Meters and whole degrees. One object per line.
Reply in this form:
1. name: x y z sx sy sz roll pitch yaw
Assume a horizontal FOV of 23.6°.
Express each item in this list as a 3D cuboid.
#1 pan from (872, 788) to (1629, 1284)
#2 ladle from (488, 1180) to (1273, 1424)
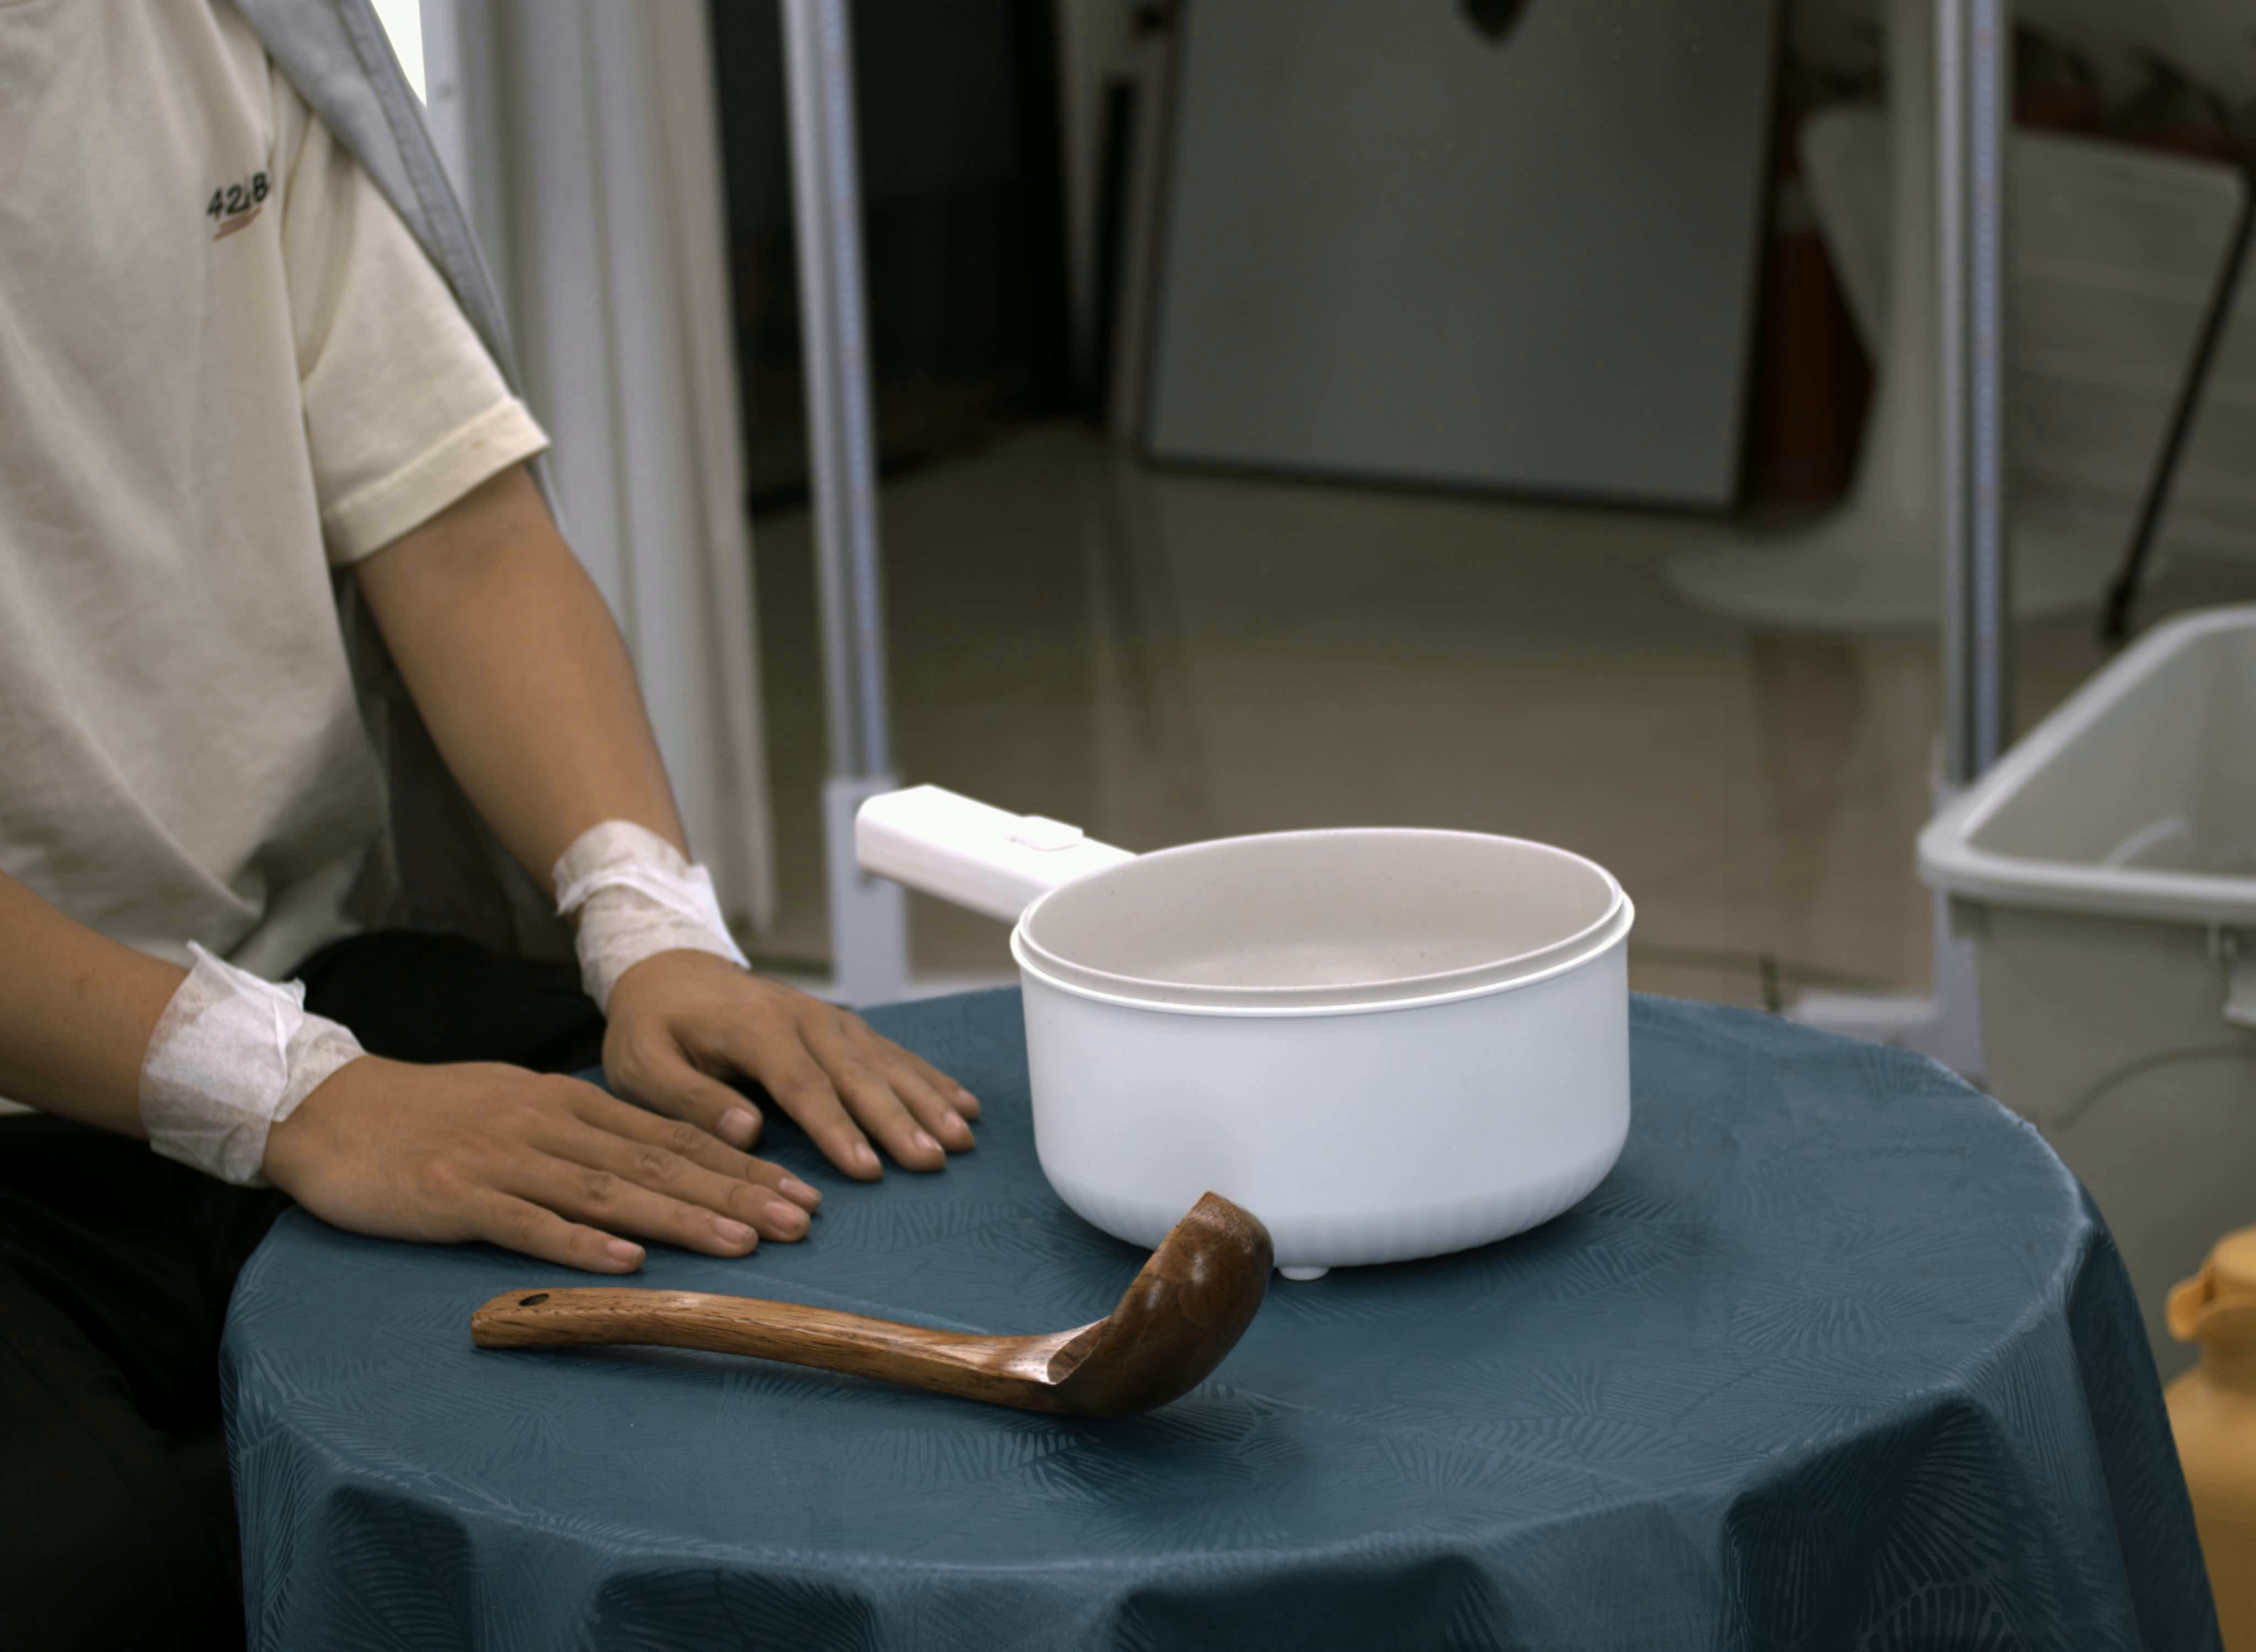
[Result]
1. pan: 0.022 0.062 1.801 0.197 0.103 0.358 -13 16 -31
2. ladle: -0.081 0.130 1.598 0.275 0.077 0.080 6 17 31
